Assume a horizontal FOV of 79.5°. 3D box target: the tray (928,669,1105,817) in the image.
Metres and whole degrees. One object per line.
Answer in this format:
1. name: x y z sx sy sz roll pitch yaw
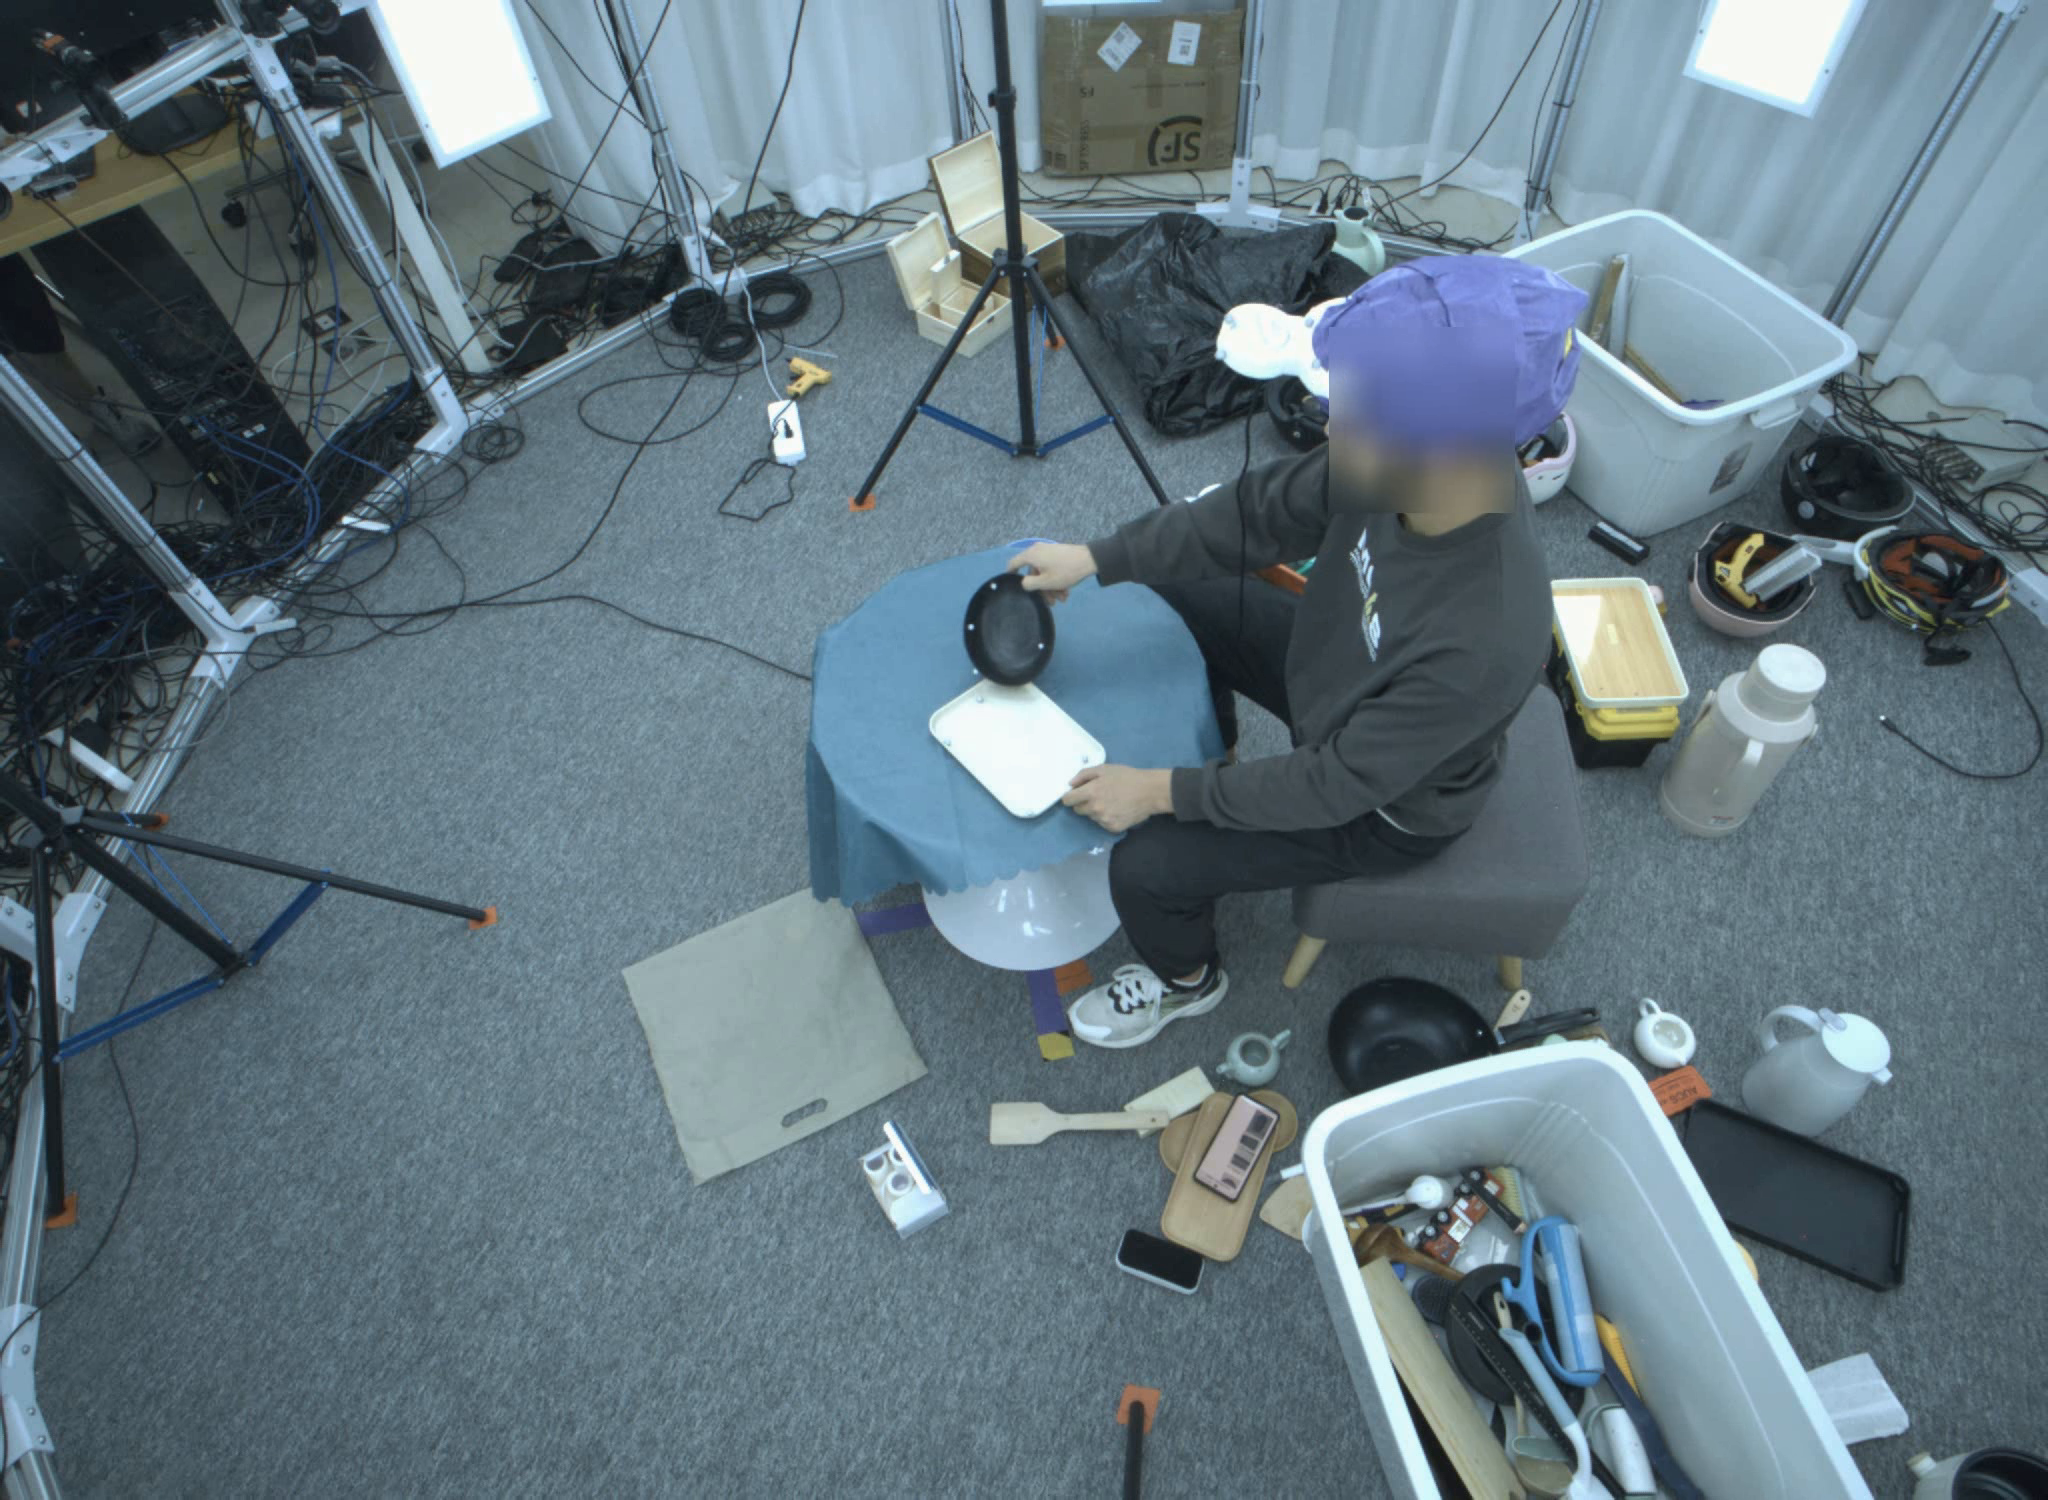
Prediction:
1. tray: -0.012 -0.012 1.783 0.172 0.017 0.235 -35 61 -22

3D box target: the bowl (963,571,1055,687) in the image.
1. bowl: -0.019 -0.180 1.833 0.137 0.067 0.170 -4 94 6
